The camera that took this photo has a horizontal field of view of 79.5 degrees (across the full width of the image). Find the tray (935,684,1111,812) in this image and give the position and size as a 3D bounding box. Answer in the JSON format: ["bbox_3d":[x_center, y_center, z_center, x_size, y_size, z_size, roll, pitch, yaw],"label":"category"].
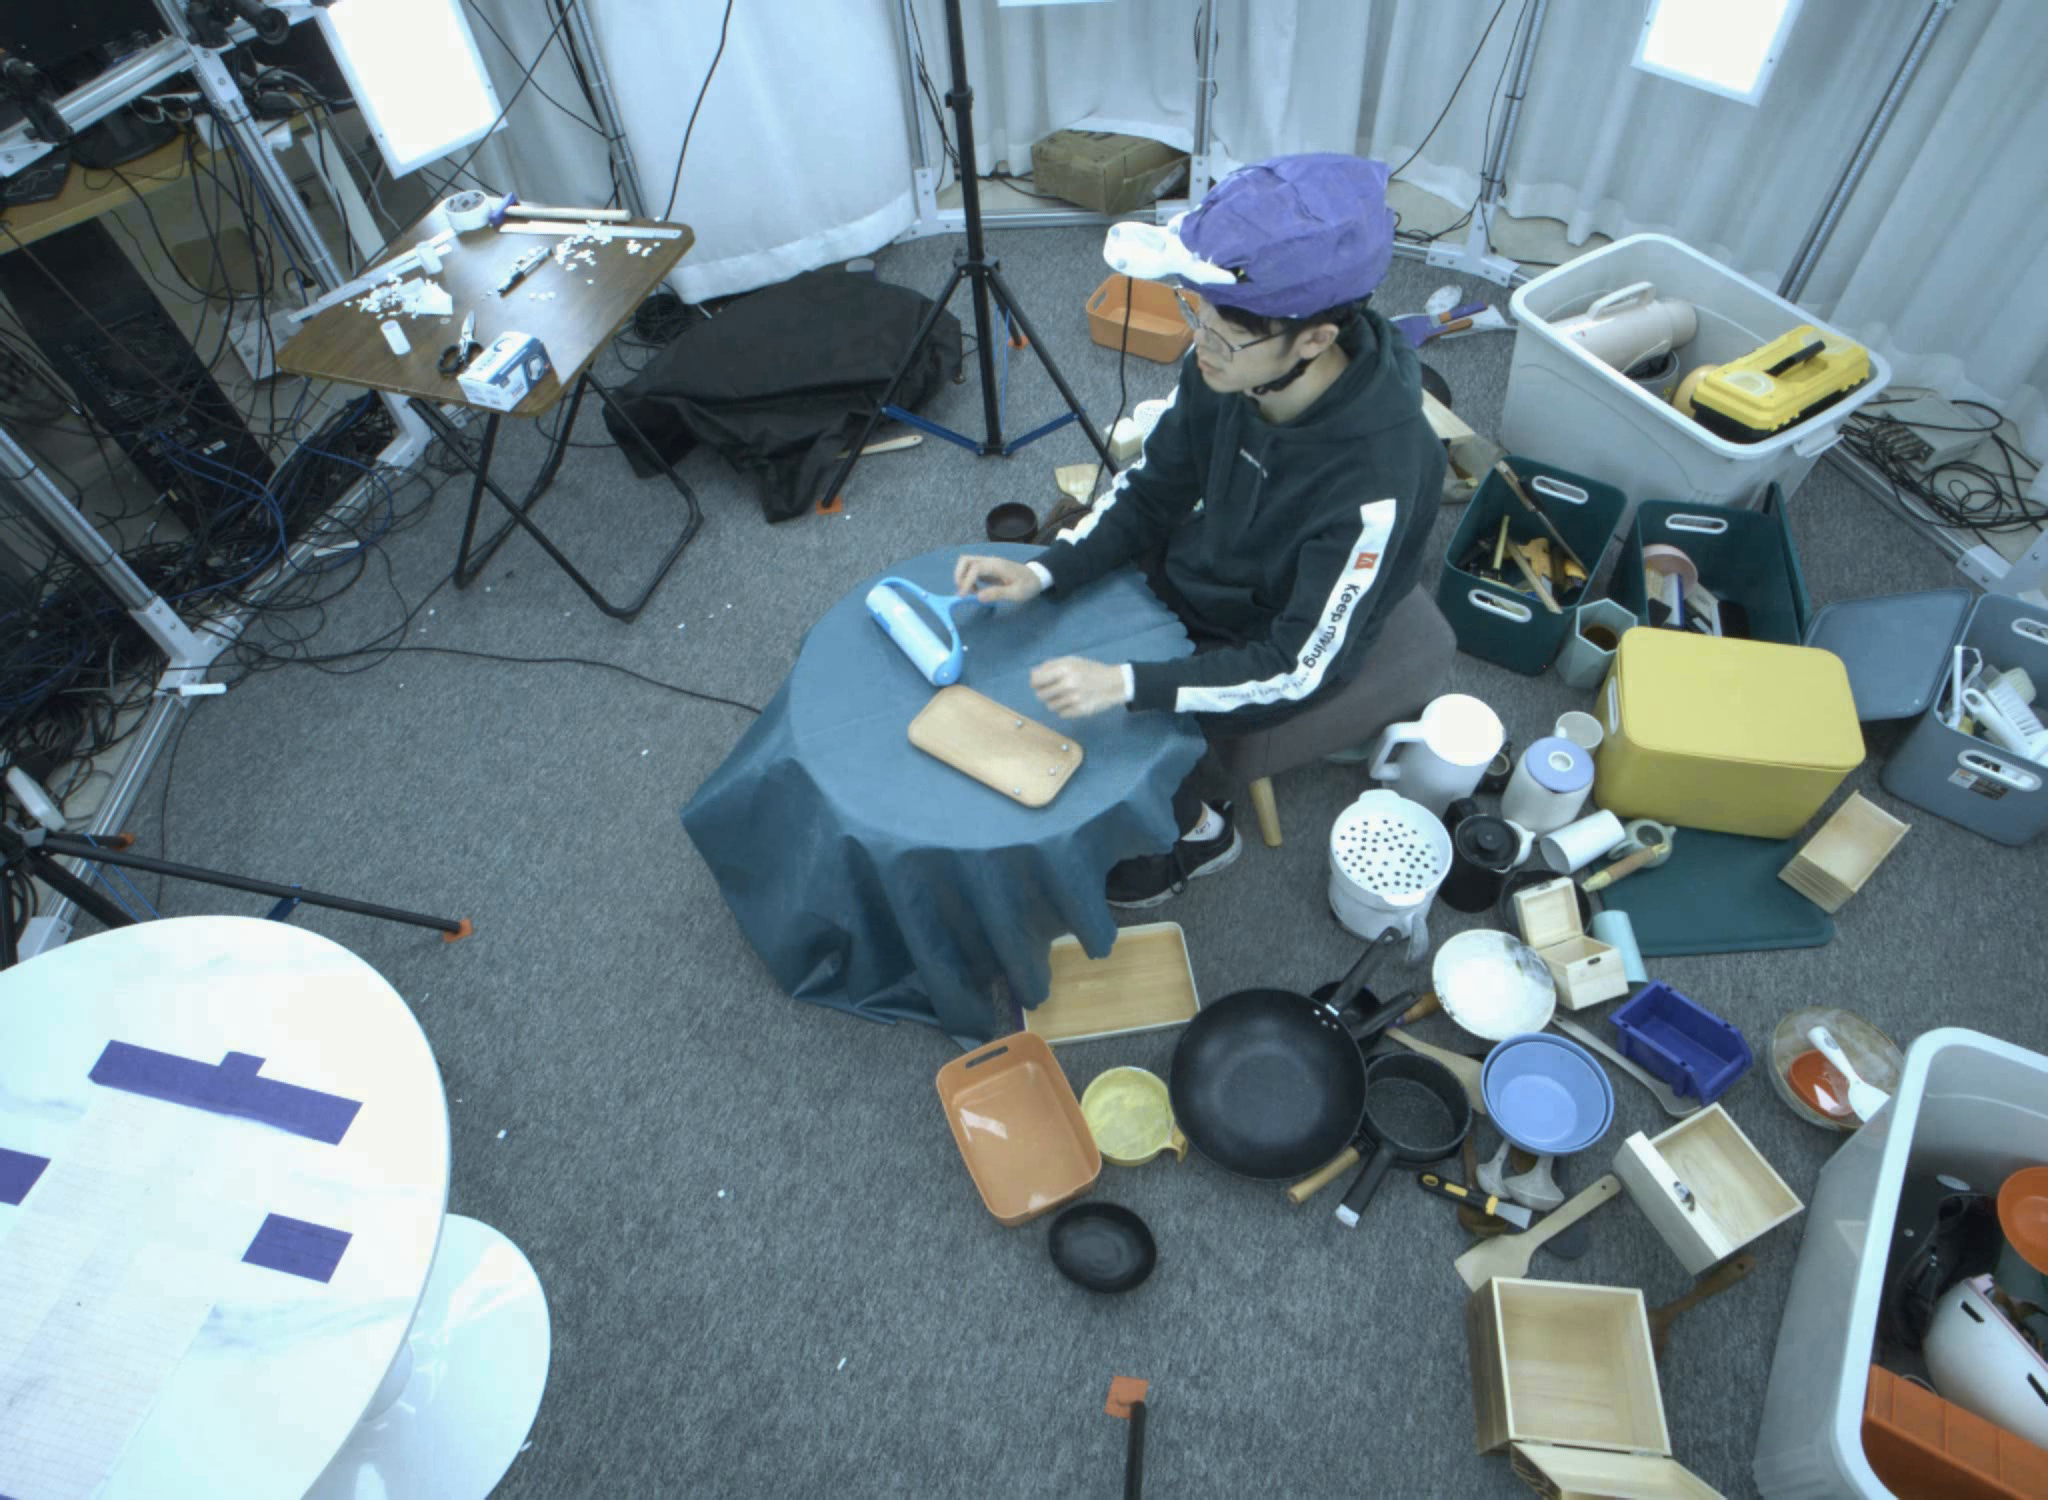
[{"bbox_3d":[-0.003,-0.004,1.775,0.246,0.023,0.131,30,59,22],"label":"tray"}]

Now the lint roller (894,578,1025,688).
[{"bbox_3d":[-0.080,-0.206,1.897,0.181,0.069,0.224,-33,58,-18],"label":"lint roller"}]
